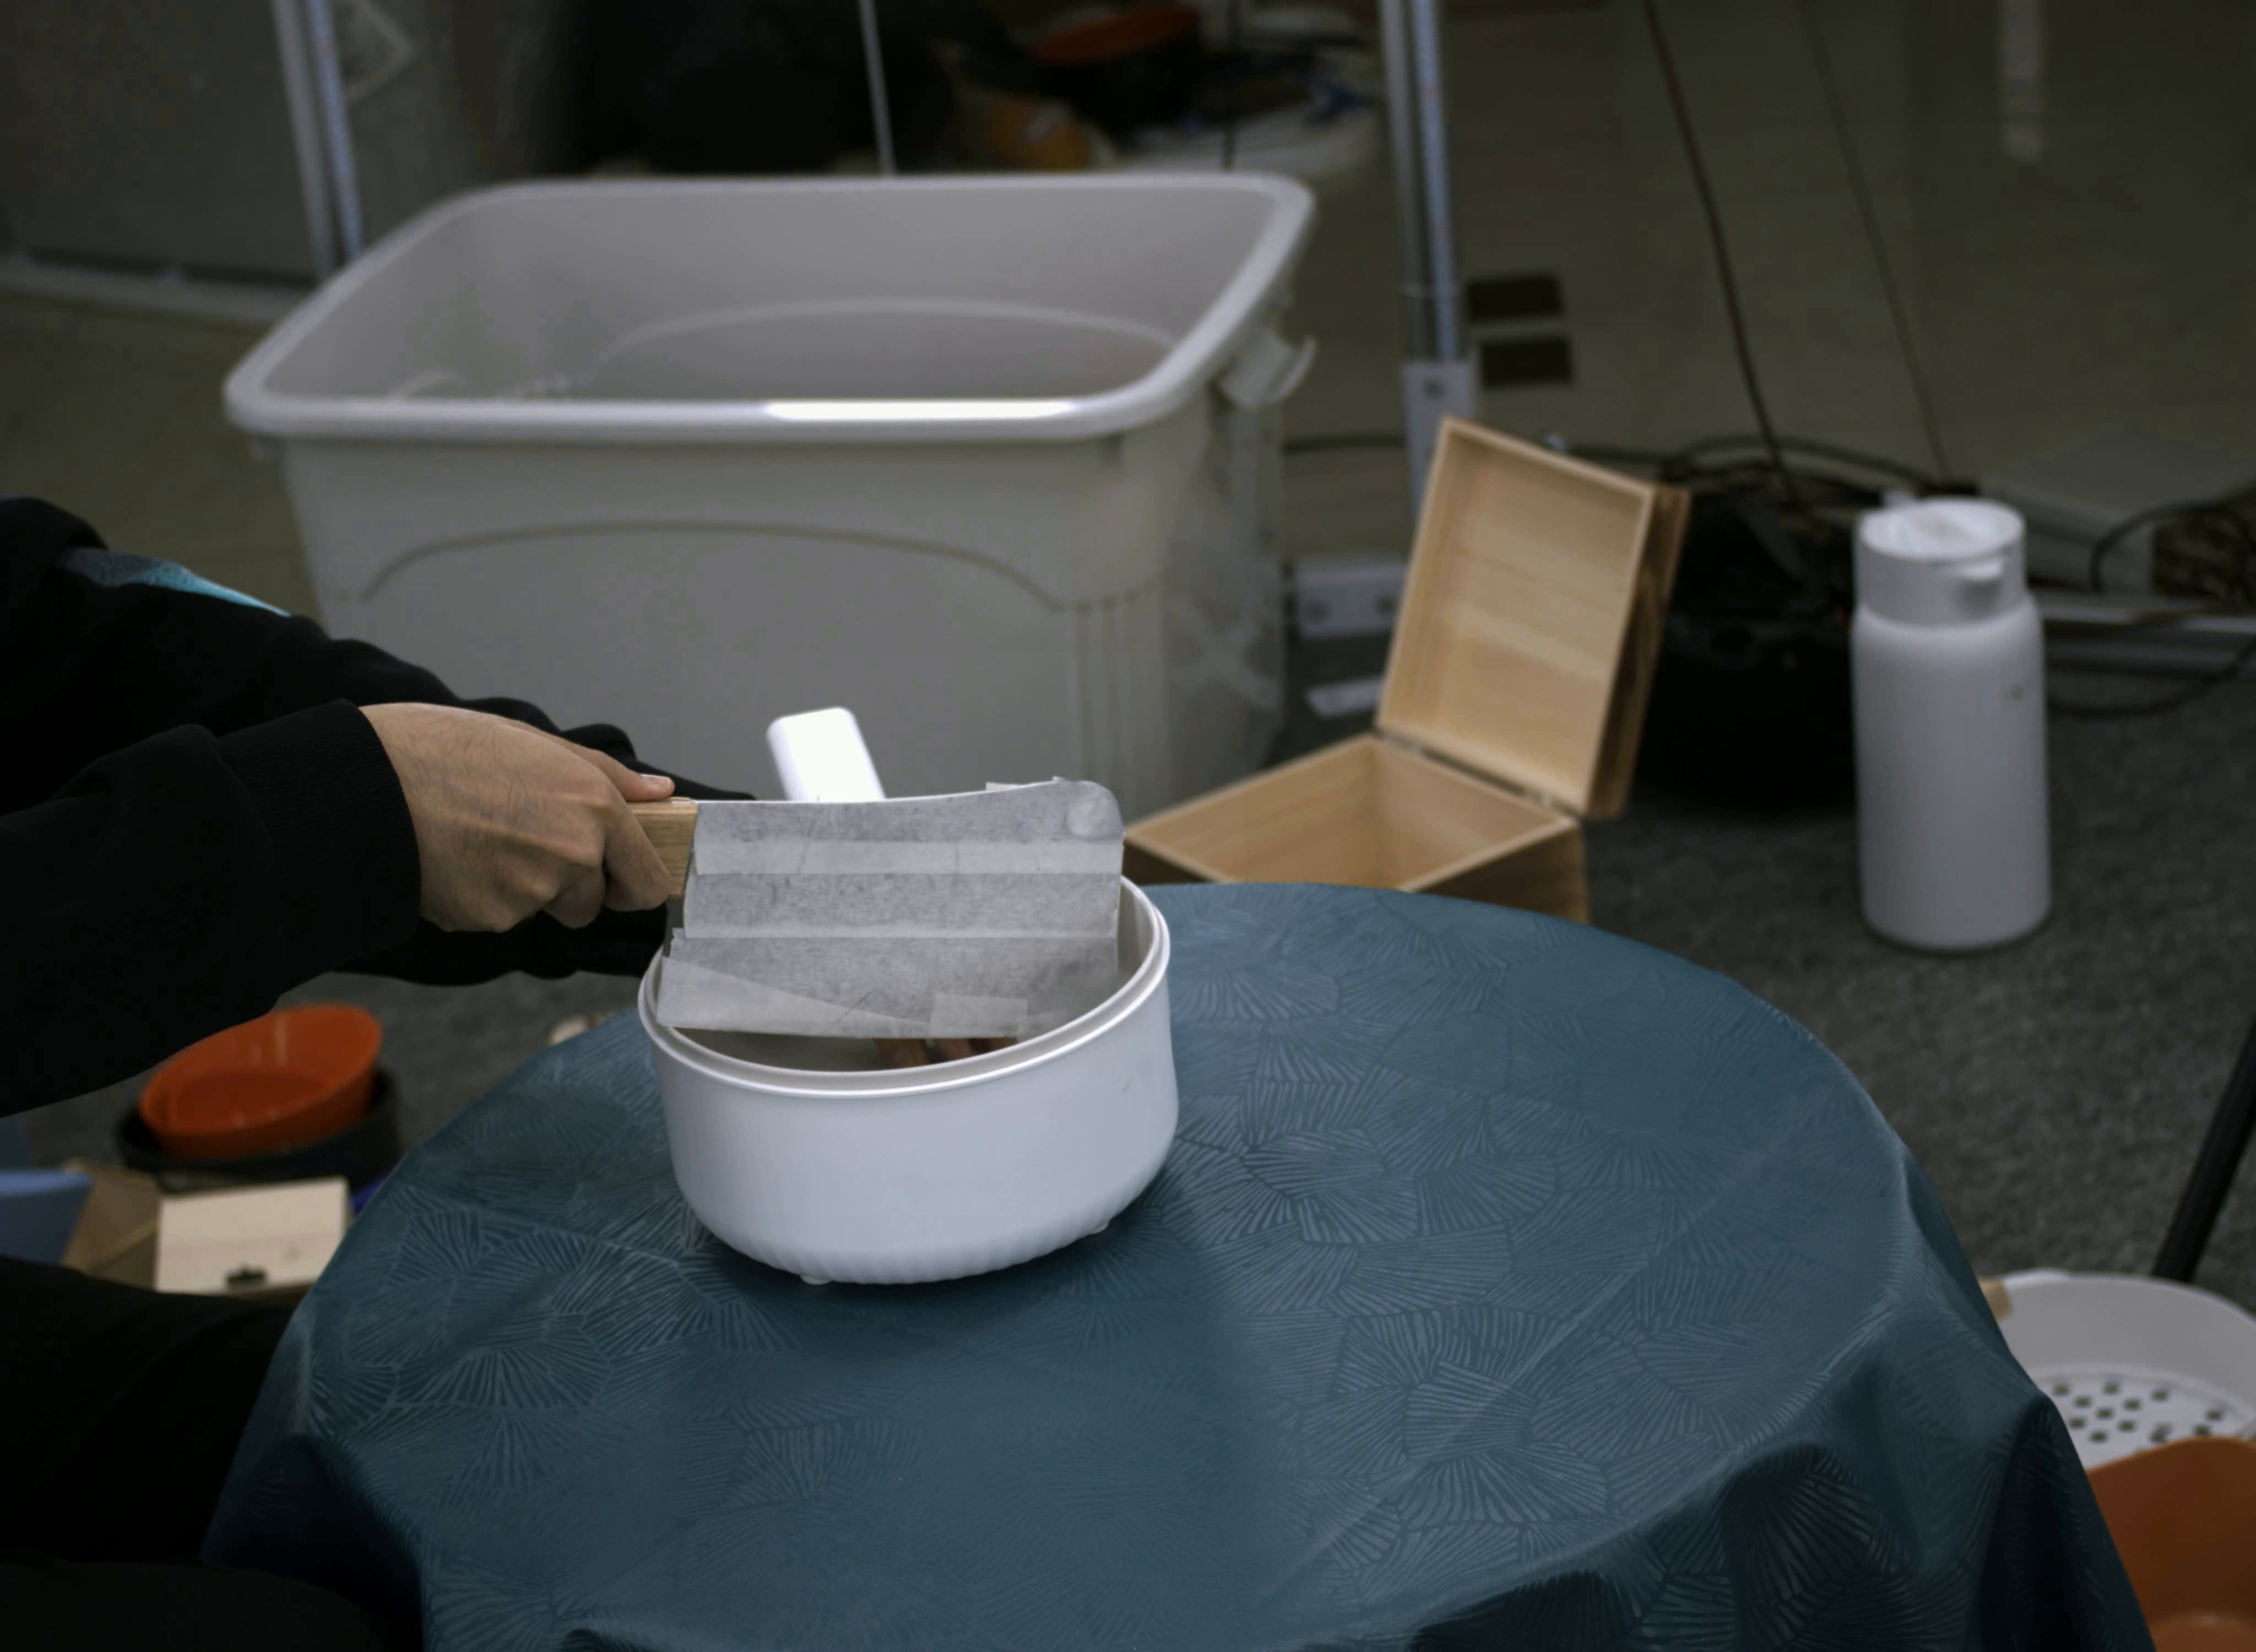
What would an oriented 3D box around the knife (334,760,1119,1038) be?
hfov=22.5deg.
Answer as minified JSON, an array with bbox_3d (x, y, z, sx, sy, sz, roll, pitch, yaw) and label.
[{"bbox_3d":[-0.140,0.023,2.084,0.315,0.115,0.021,4,13,-25],"label":"knife"}]

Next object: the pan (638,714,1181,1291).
[{"bbox_3d":[-0.093,0.066,2.212,0.201,0.104,0.350,-12,25,-7],"label":"pan"}]
